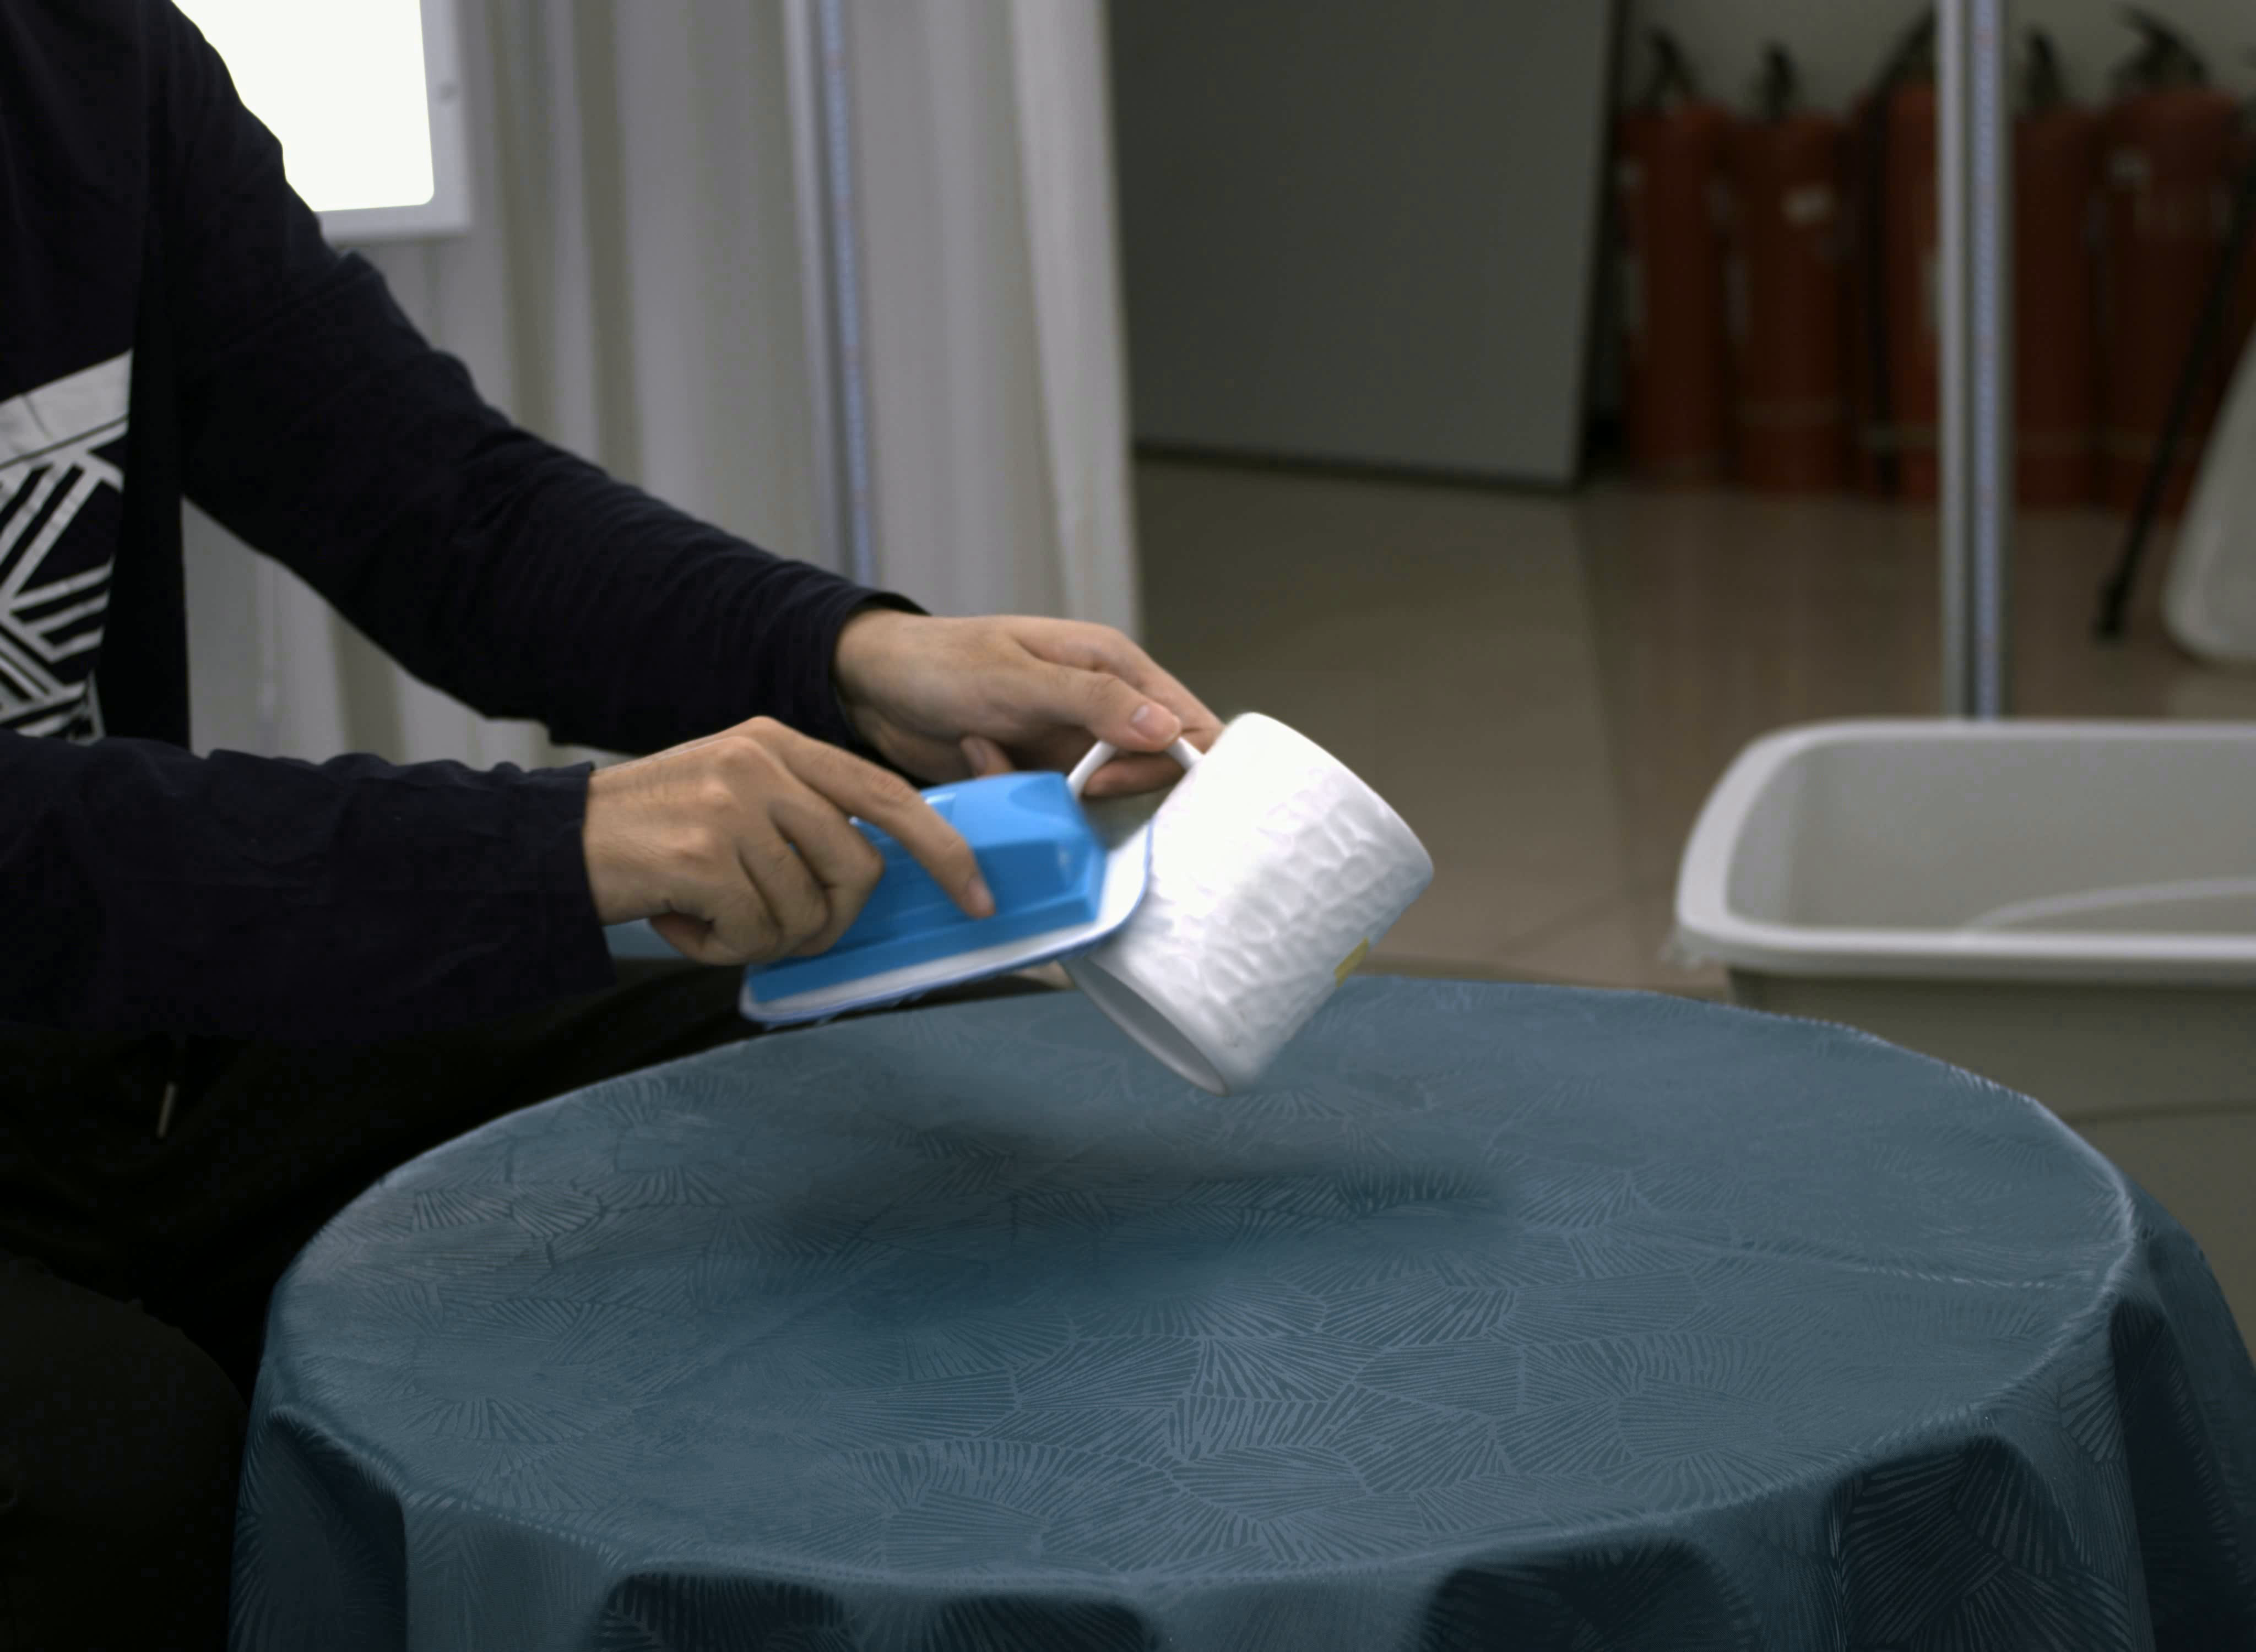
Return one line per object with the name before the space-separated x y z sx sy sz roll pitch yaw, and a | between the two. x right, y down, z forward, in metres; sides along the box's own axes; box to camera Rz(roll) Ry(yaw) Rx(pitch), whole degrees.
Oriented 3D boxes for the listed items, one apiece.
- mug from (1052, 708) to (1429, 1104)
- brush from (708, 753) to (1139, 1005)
mug | 0.023 0.019 1.781 0.119 0.102 0.084 37 -11 18
brush | -0.070 0.012 1.757 0.143 0.056 0.084 -13 27 18
